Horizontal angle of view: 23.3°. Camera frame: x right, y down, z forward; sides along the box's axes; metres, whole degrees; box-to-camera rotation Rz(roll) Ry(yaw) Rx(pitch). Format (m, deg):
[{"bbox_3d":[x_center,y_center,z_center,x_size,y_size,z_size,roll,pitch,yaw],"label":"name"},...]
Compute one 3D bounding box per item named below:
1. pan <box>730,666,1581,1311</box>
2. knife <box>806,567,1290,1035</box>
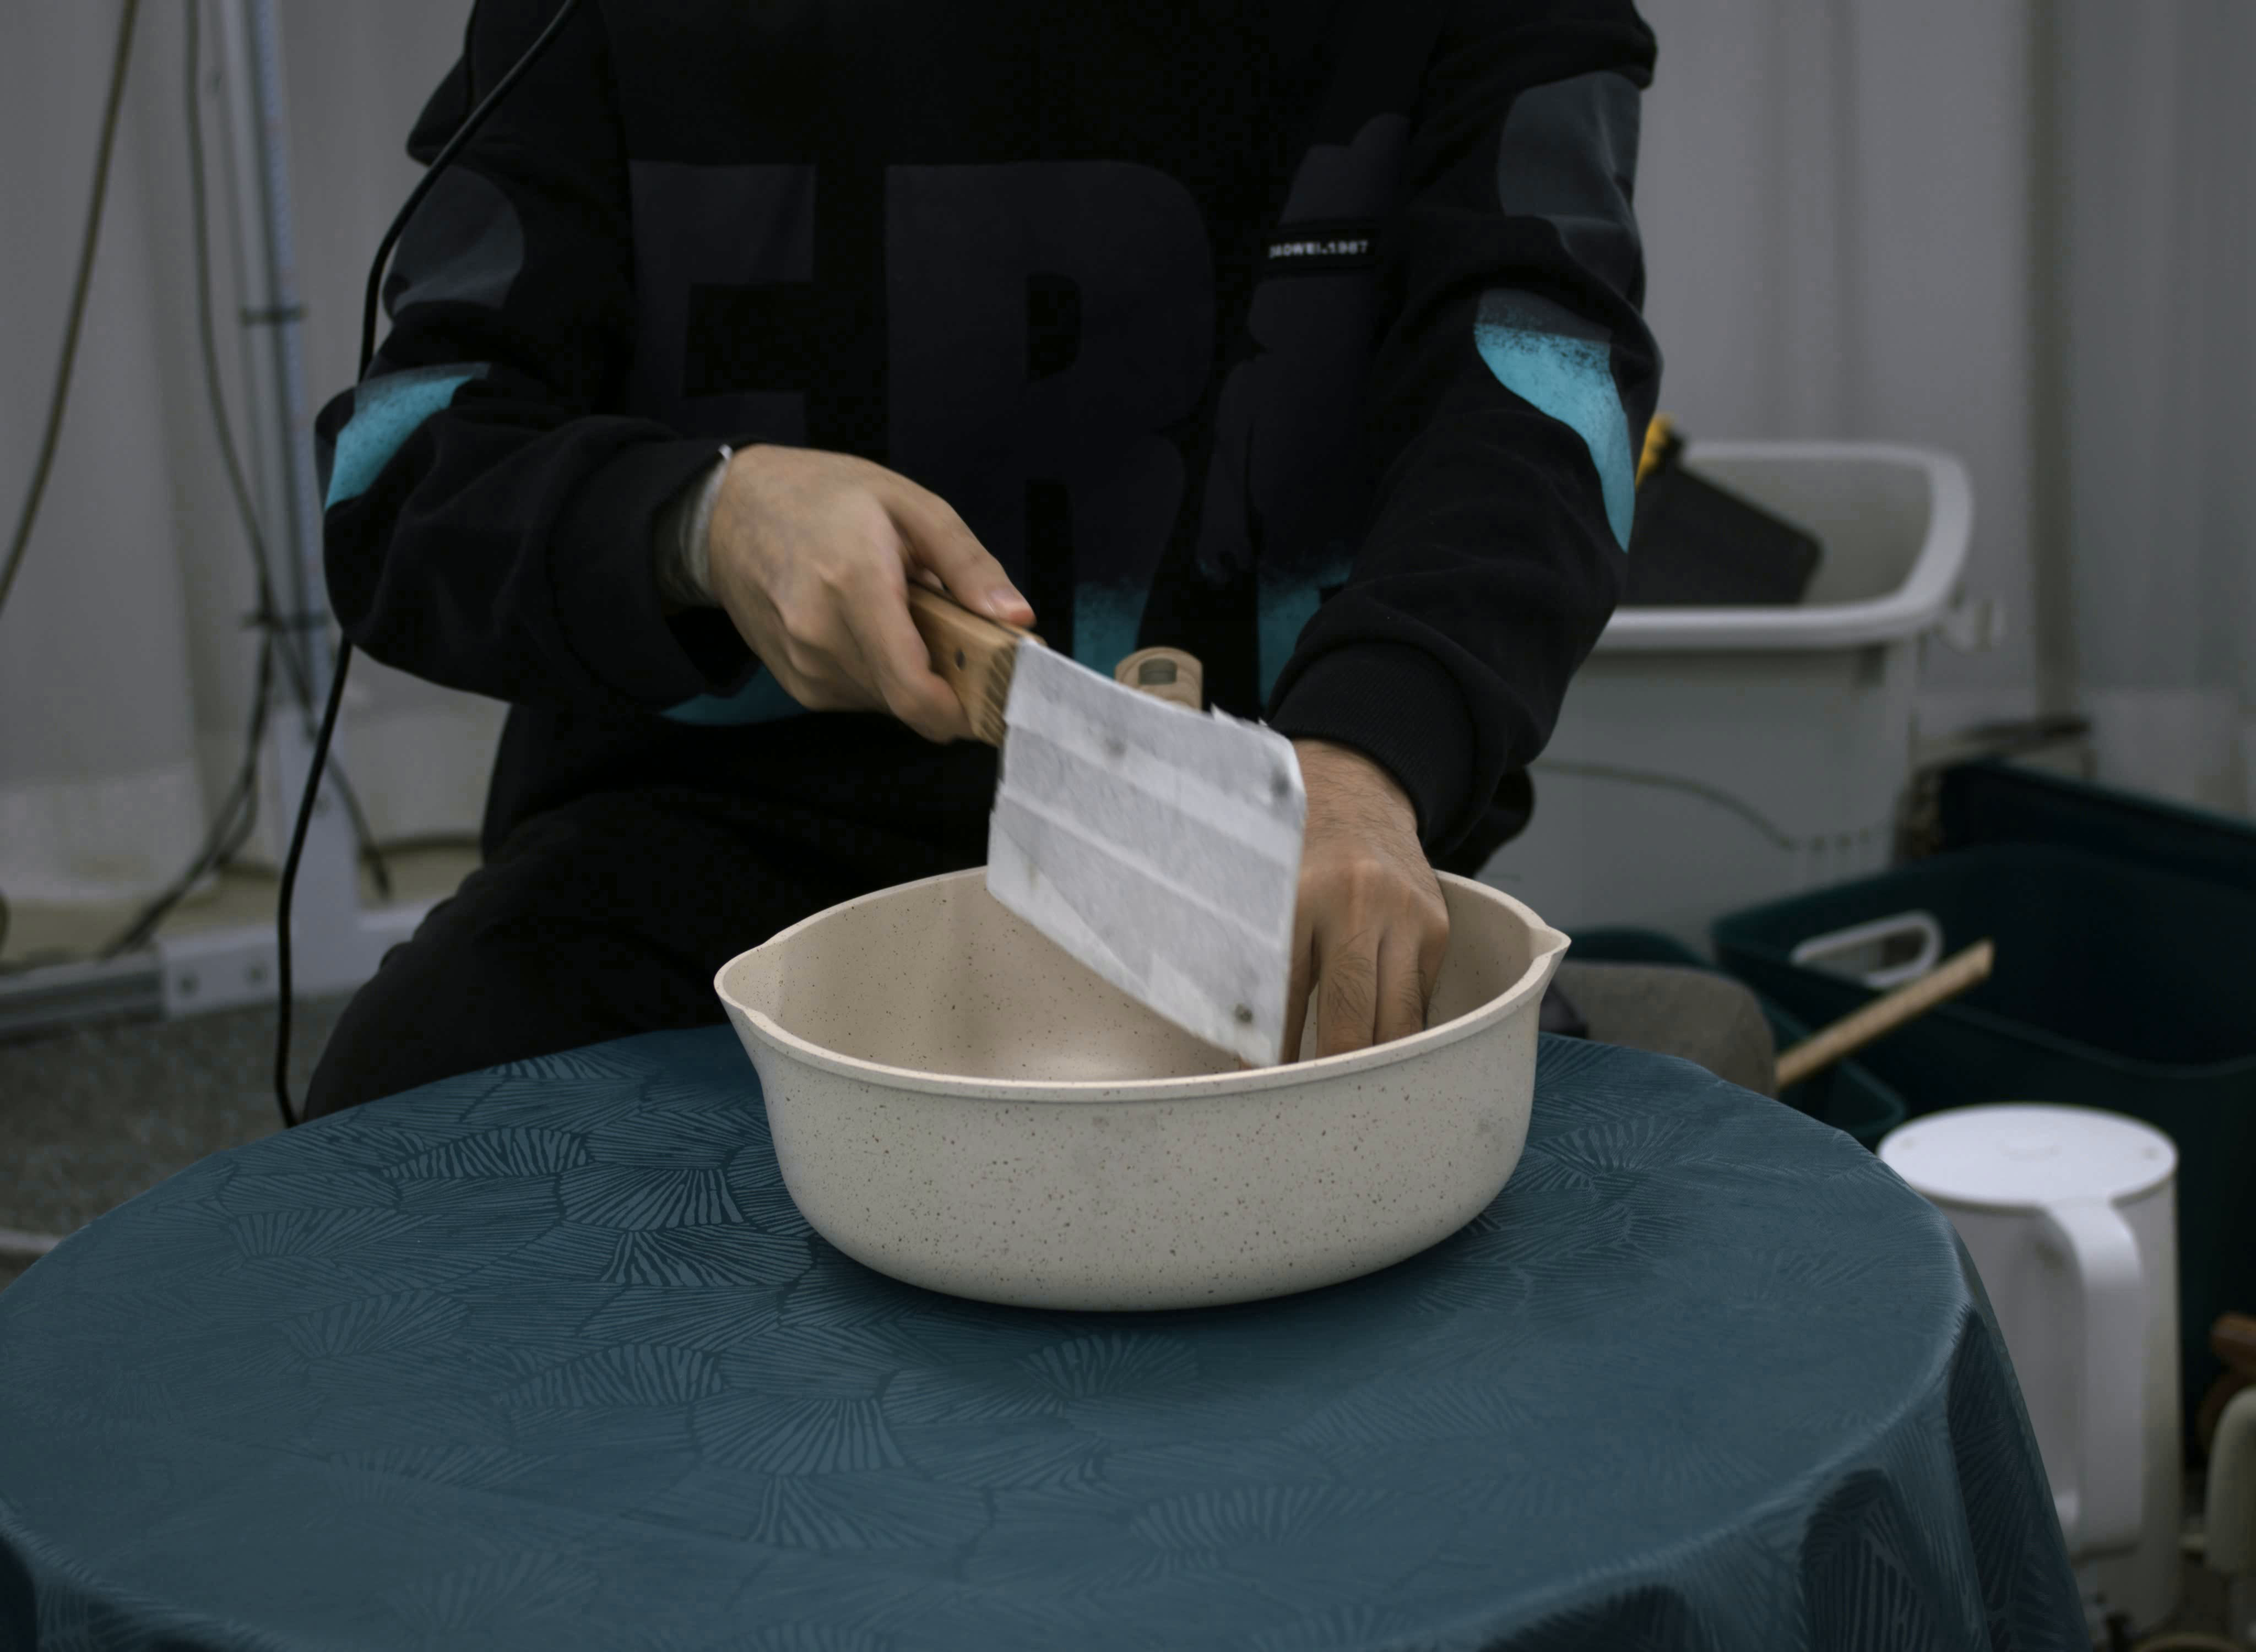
[{"bbox_3d":[0.011,0.048,1.774,0.262,0.101,0.438,-5,15,1],"label":"pan"},{"bbox_3d":[-0.027,-0.025,1.724,0.021,0.113,0.318,0,19,-30],"label":"knife"}]
